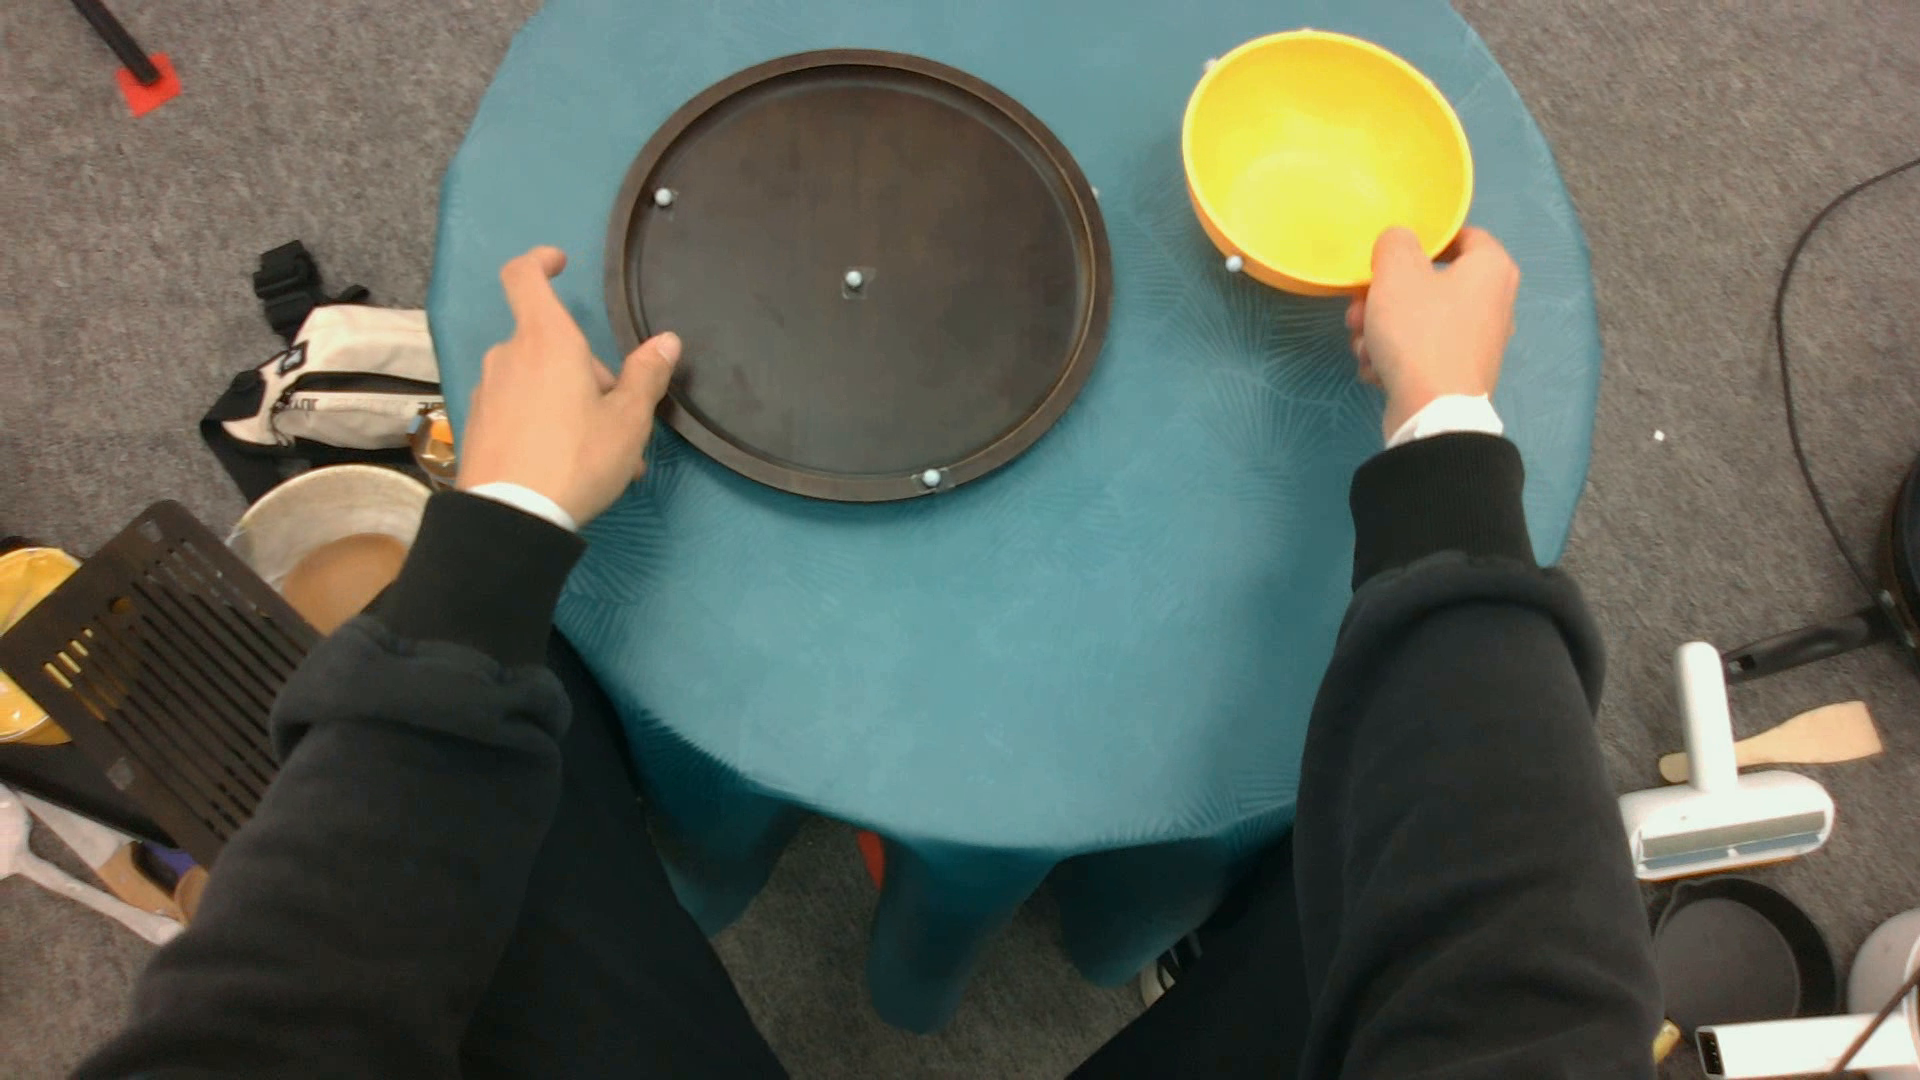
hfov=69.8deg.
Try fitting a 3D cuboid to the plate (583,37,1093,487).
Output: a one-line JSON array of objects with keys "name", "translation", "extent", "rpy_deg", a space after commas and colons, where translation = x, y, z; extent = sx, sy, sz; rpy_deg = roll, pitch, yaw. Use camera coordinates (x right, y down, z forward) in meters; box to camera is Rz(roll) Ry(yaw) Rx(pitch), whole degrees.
[{"name": "plate", "translation": [-0.059, -0.143, 0.692], "extent": [0.255, 0.029, 0.255], "rpy_deg": [2, 72, -6]}]

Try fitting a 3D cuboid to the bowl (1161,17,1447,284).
[{"name": "bowl", "translation": [0.169, -0.189, 0.708], "extent": [0.145, 0.060, 0.145], "rpy_deg": [1, 75, -5]}]
